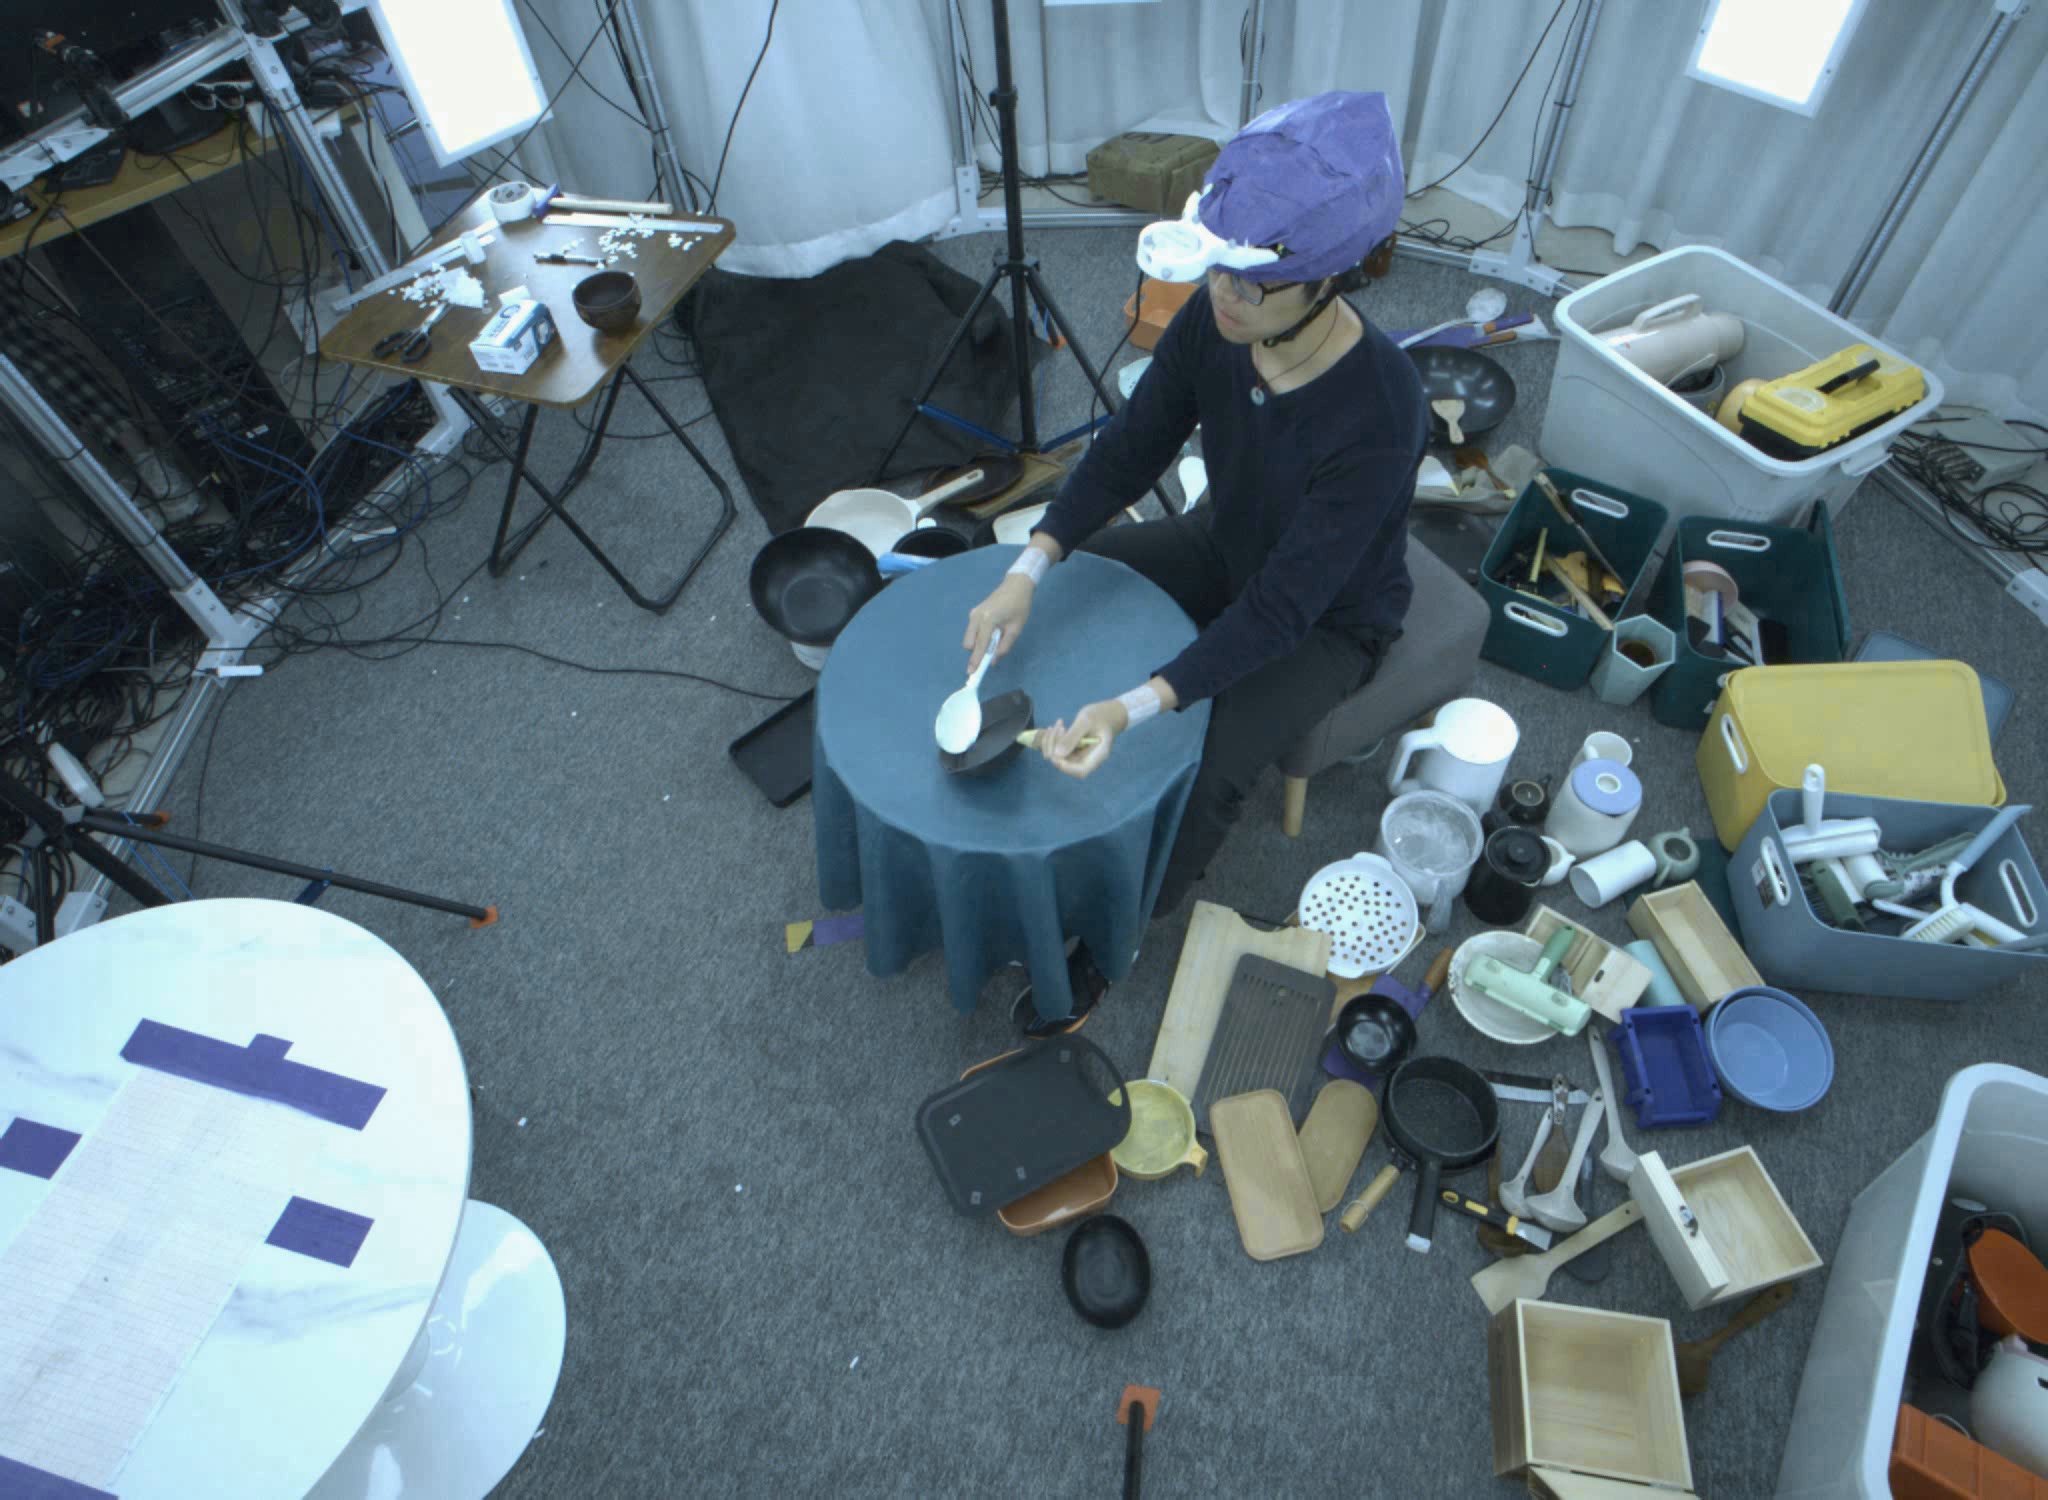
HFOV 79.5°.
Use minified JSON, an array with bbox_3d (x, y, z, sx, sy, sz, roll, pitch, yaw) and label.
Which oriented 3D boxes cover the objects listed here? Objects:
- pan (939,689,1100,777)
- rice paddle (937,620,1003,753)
[{"bbox_3d":[-0.002,-0.015,1.675,0.169,0.050,0.317,-50,31,-22],"label":"pan"},{"bbox_3d":[-0.075,-0.091,1.790,0.070,0.029,0.205,26,74,-28],"label":"rice paddle"}]
